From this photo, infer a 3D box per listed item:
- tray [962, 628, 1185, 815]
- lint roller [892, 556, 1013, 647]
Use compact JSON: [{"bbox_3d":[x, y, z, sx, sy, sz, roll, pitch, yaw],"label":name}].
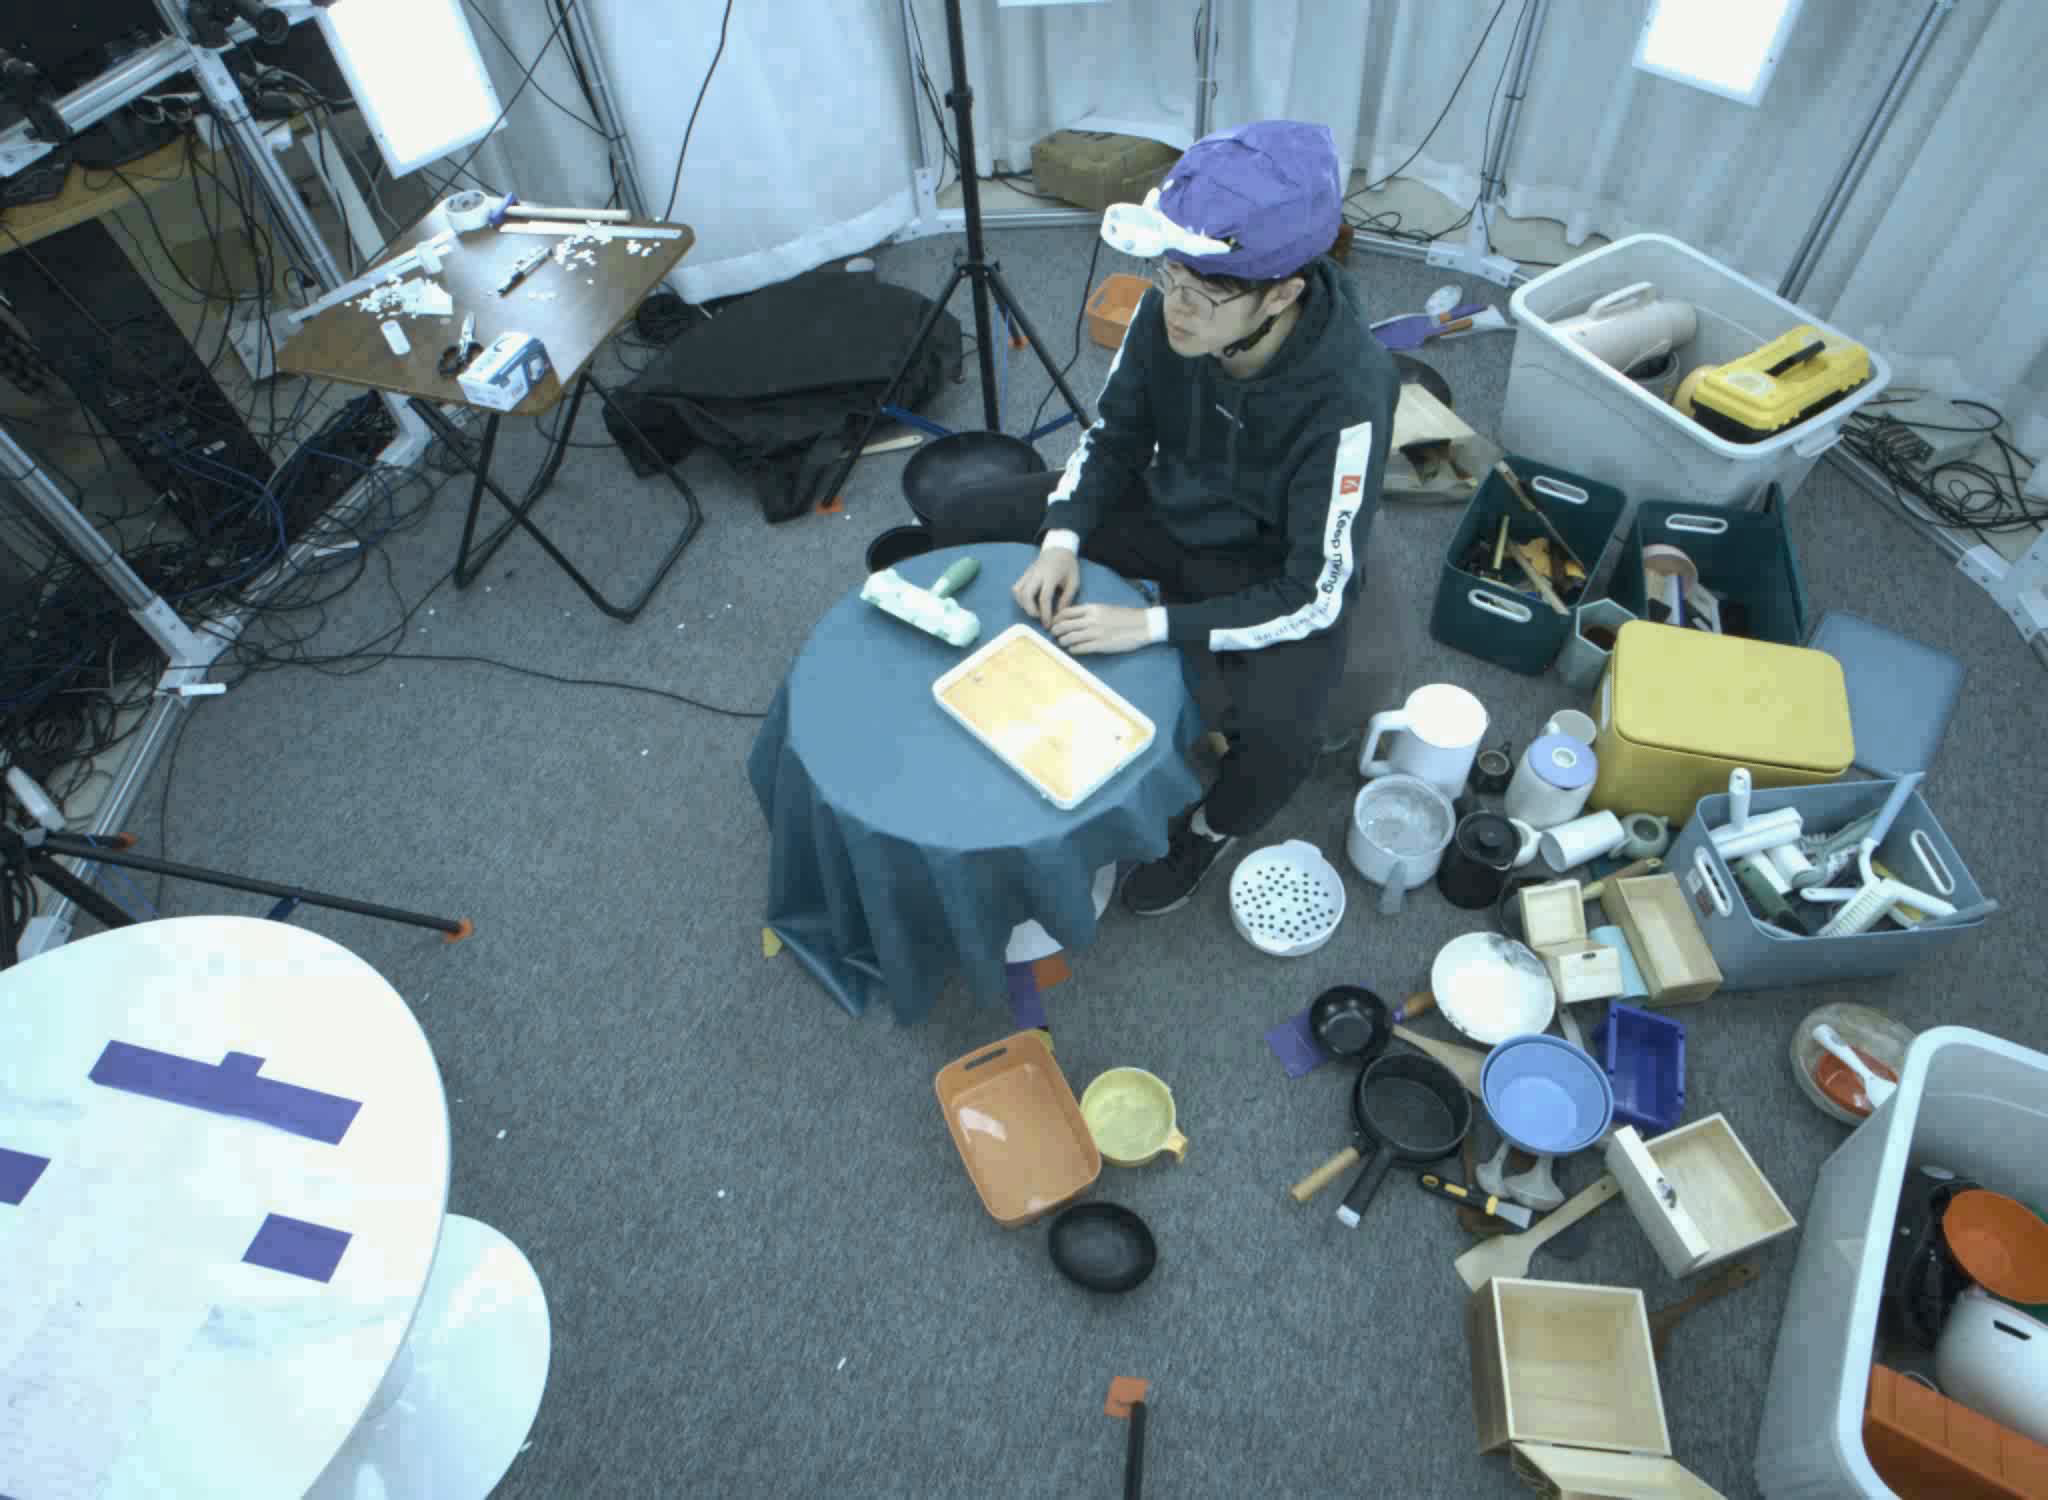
[{"bbox_3d":[0.070,-0.048,1.798,0.193,0.028,0.295,-36,61,-22],"label":"tray"},{"bbox_3d":[-0.081,-0.263,1.925,0.195,0.083,0.184,30,65,21],"label":"lint roller"}]
